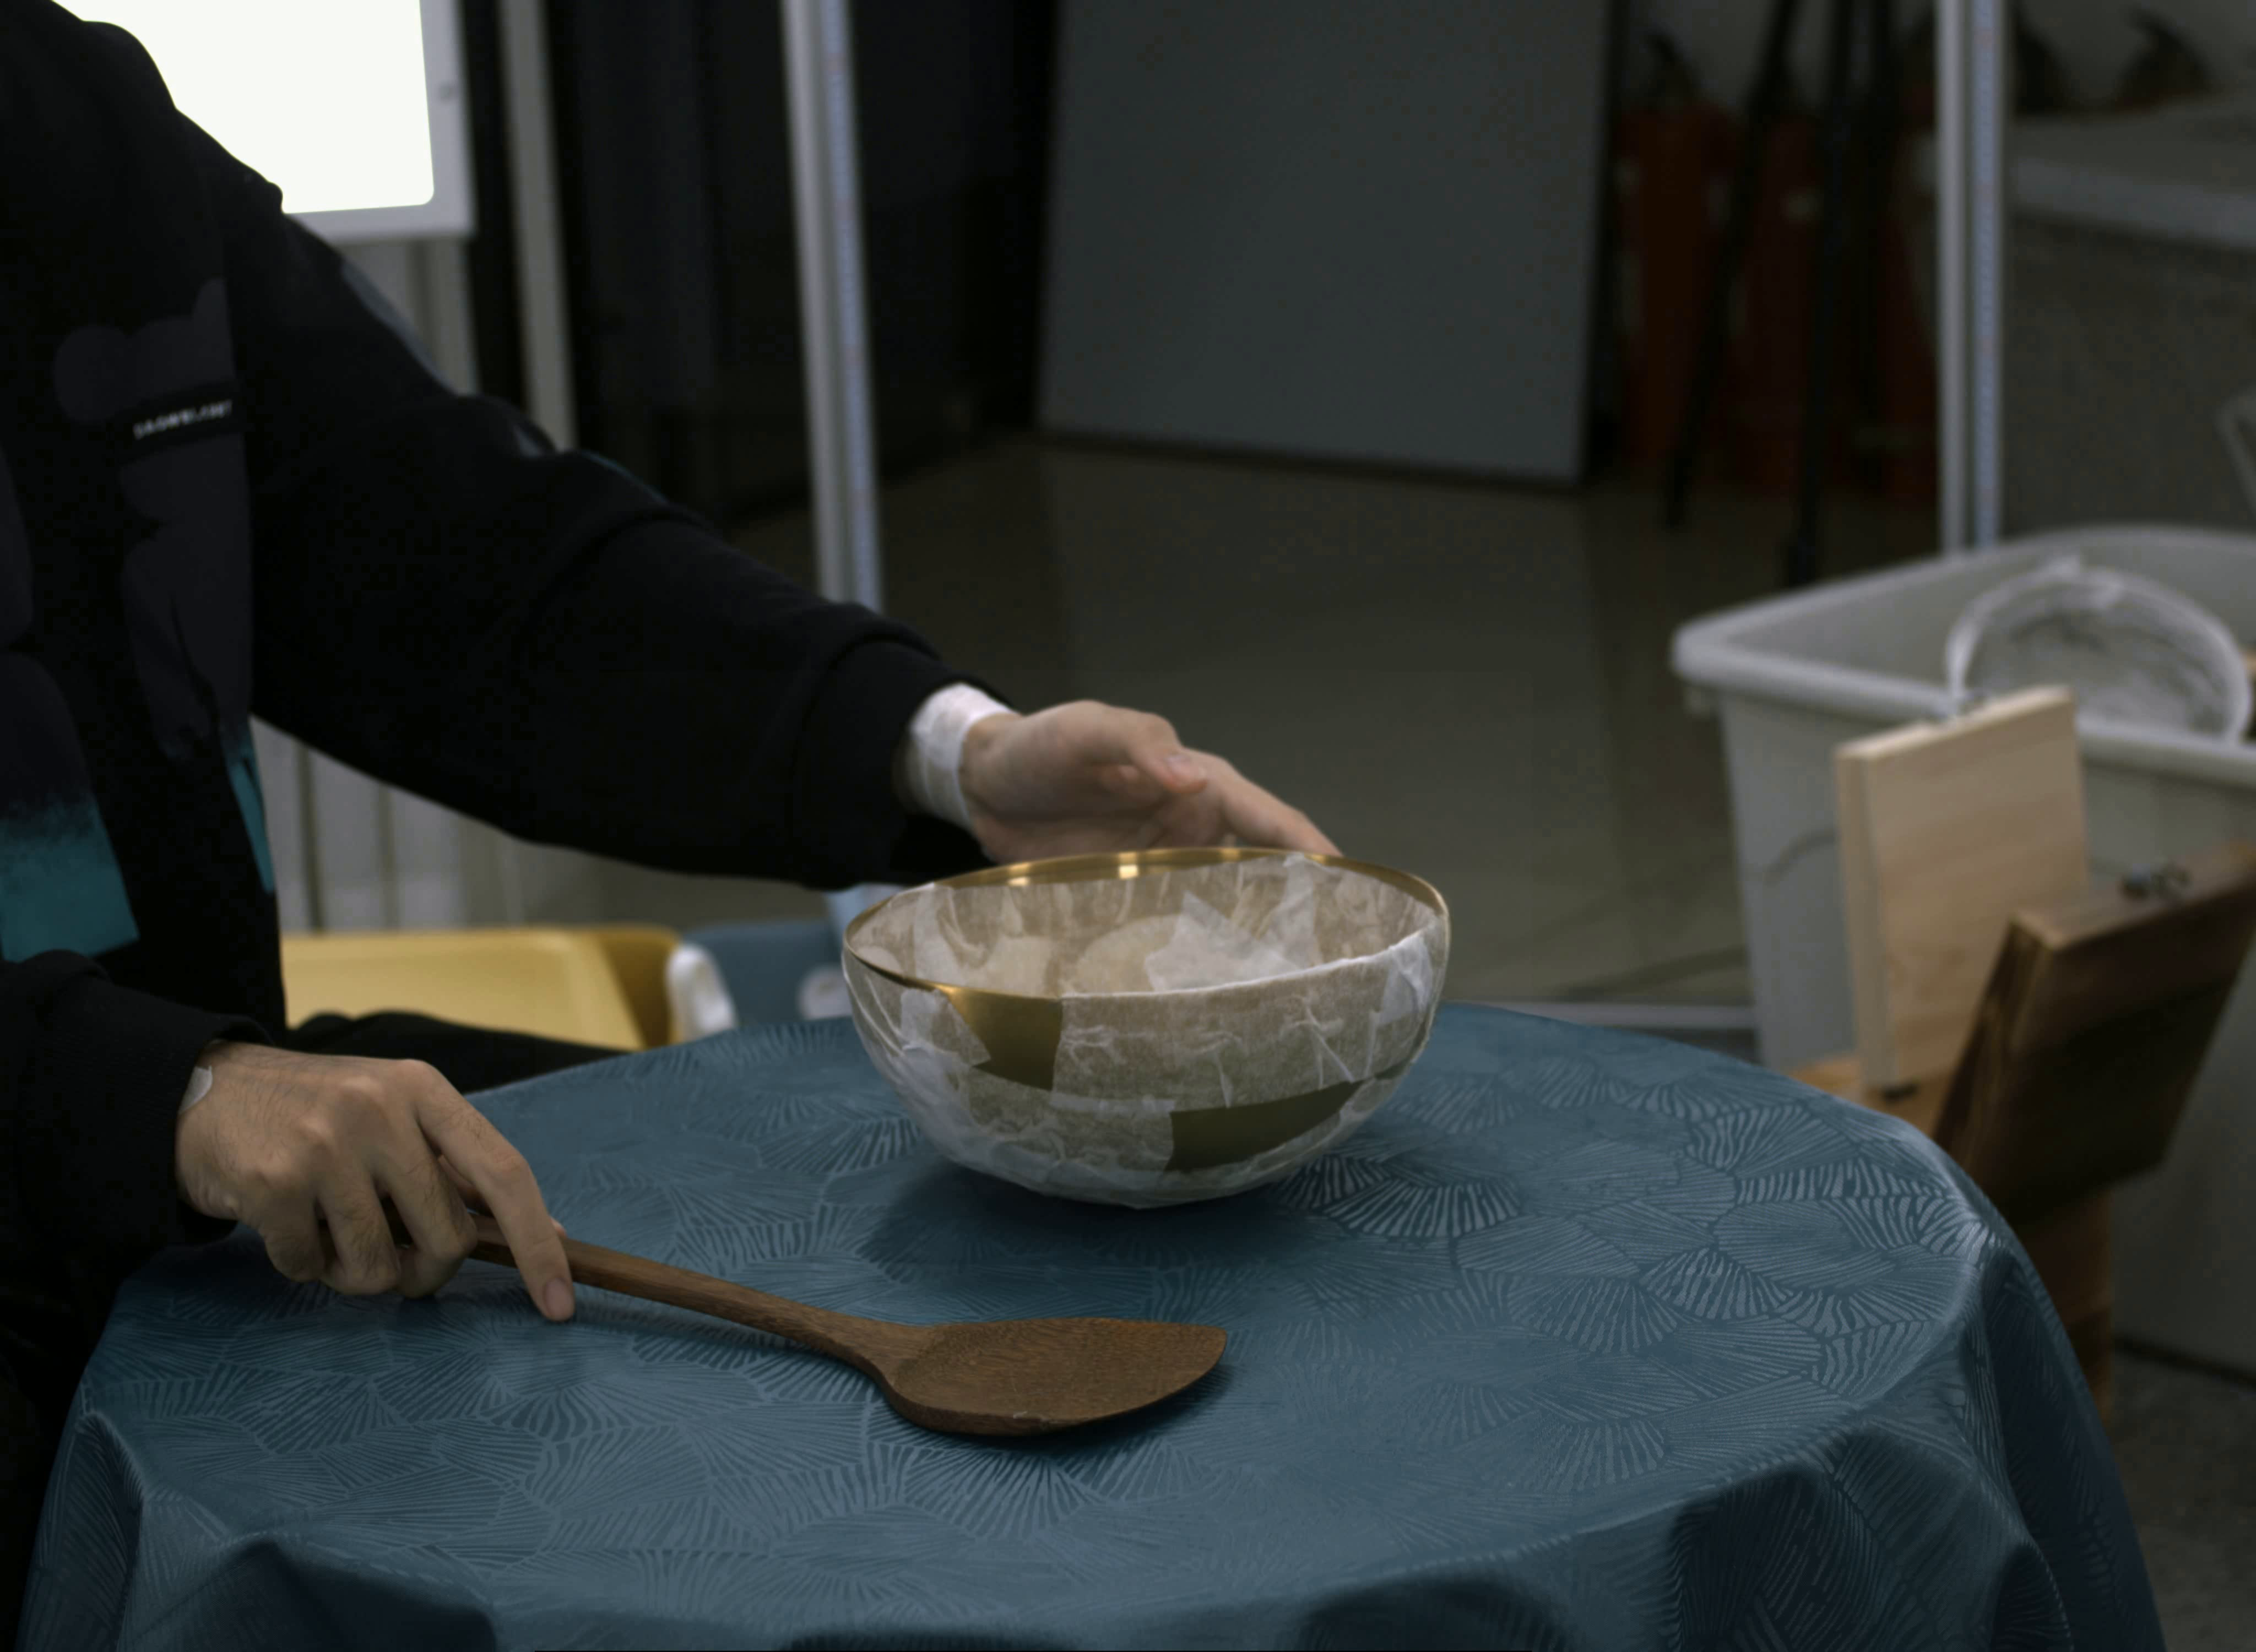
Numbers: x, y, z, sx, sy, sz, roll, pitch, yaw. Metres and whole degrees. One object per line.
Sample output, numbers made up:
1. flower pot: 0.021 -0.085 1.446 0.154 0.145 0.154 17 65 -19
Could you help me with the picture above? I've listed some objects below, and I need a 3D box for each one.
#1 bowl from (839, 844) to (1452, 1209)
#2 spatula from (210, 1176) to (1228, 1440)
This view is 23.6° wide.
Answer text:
1. bowl: 0.009 0.071 1.771 0.212 0.095 0.215 -5 12 0
2. spatula: -0.142 0.144 1.671 0.388 0.016 0.094 9 18 35
